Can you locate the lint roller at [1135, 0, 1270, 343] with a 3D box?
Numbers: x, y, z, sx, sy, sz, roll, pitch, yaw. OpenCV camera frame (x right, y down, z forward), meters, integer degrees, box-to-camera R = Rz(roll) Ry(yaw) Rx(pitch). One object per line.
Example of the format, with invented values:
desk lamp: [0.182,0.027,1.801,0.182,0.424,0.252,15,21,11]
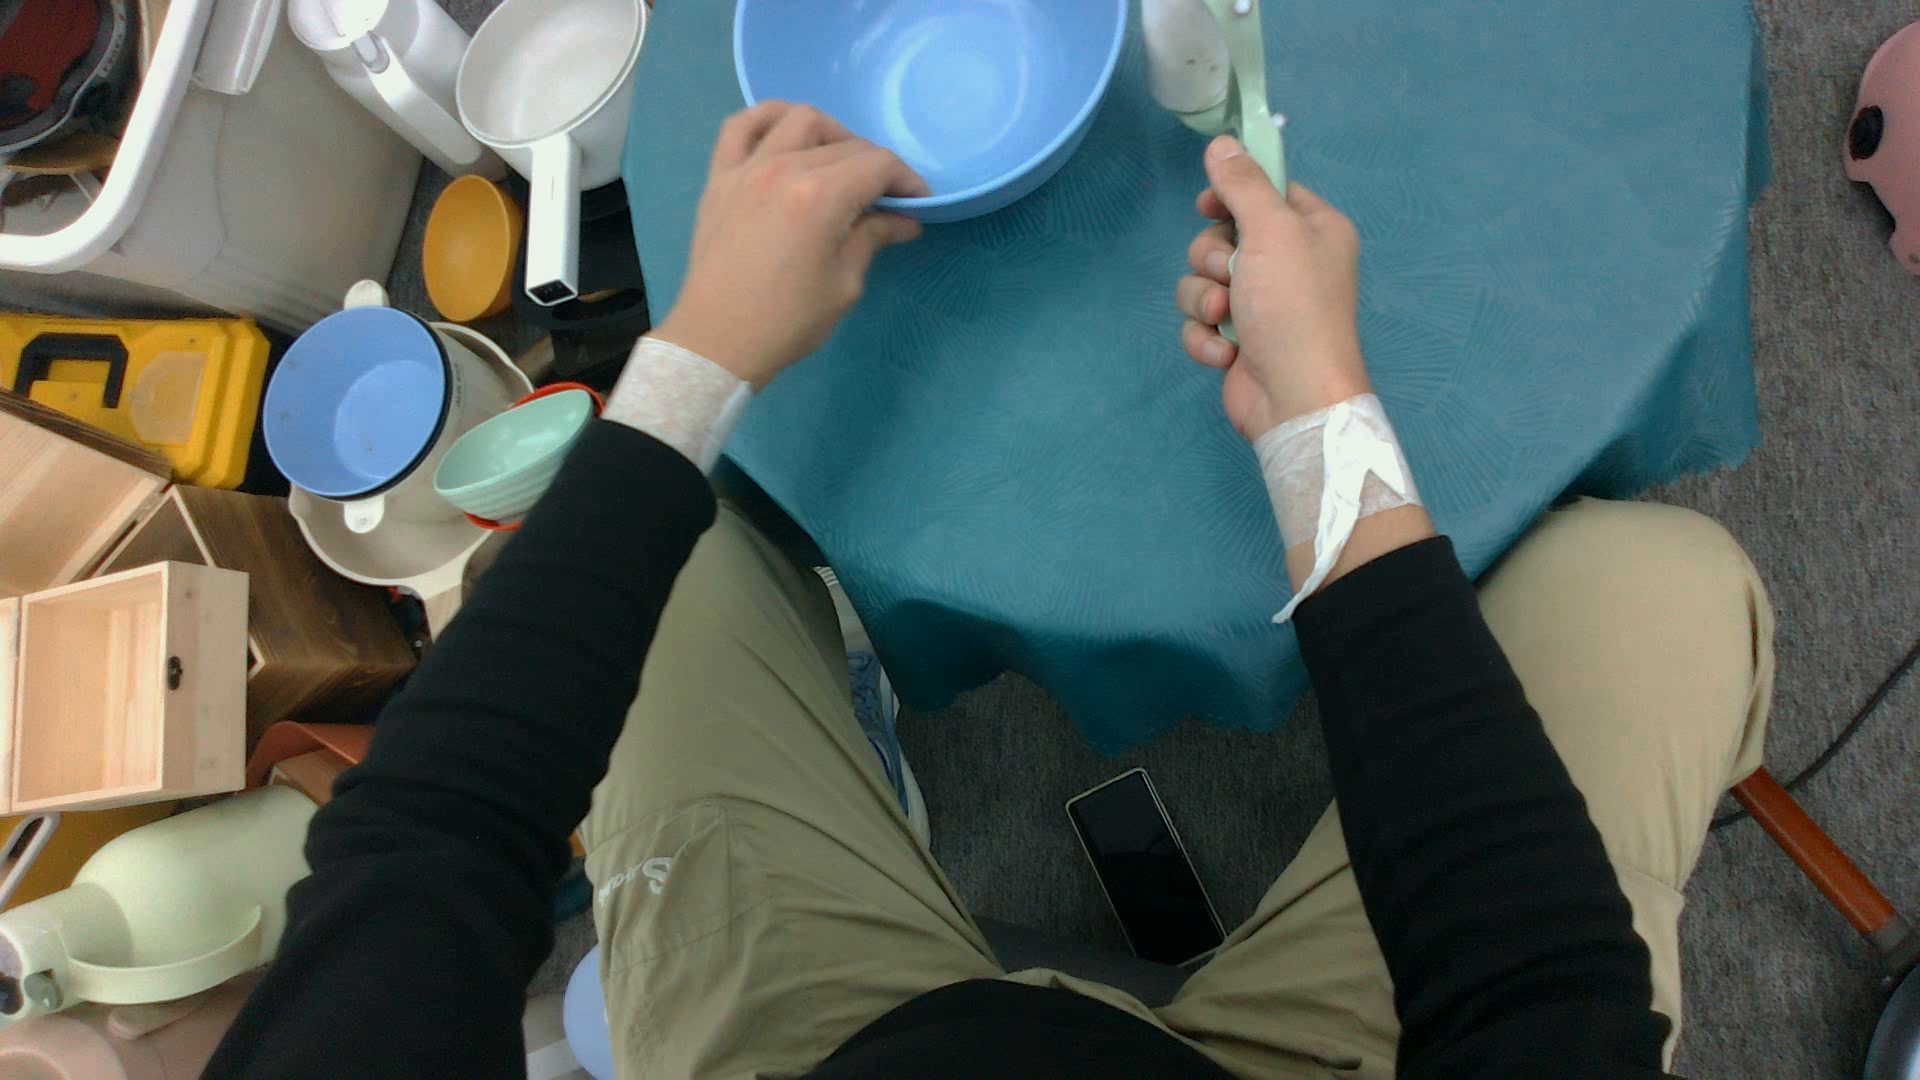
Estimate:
lint roller: [0.115,-0.185,0.622,0.048,0.116,0.198,-10,75,4]

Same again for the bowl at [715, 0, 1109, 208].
bowl: [-0.019,-0.255,0.717,0.196,0.095,0.197,-1,80,8]
